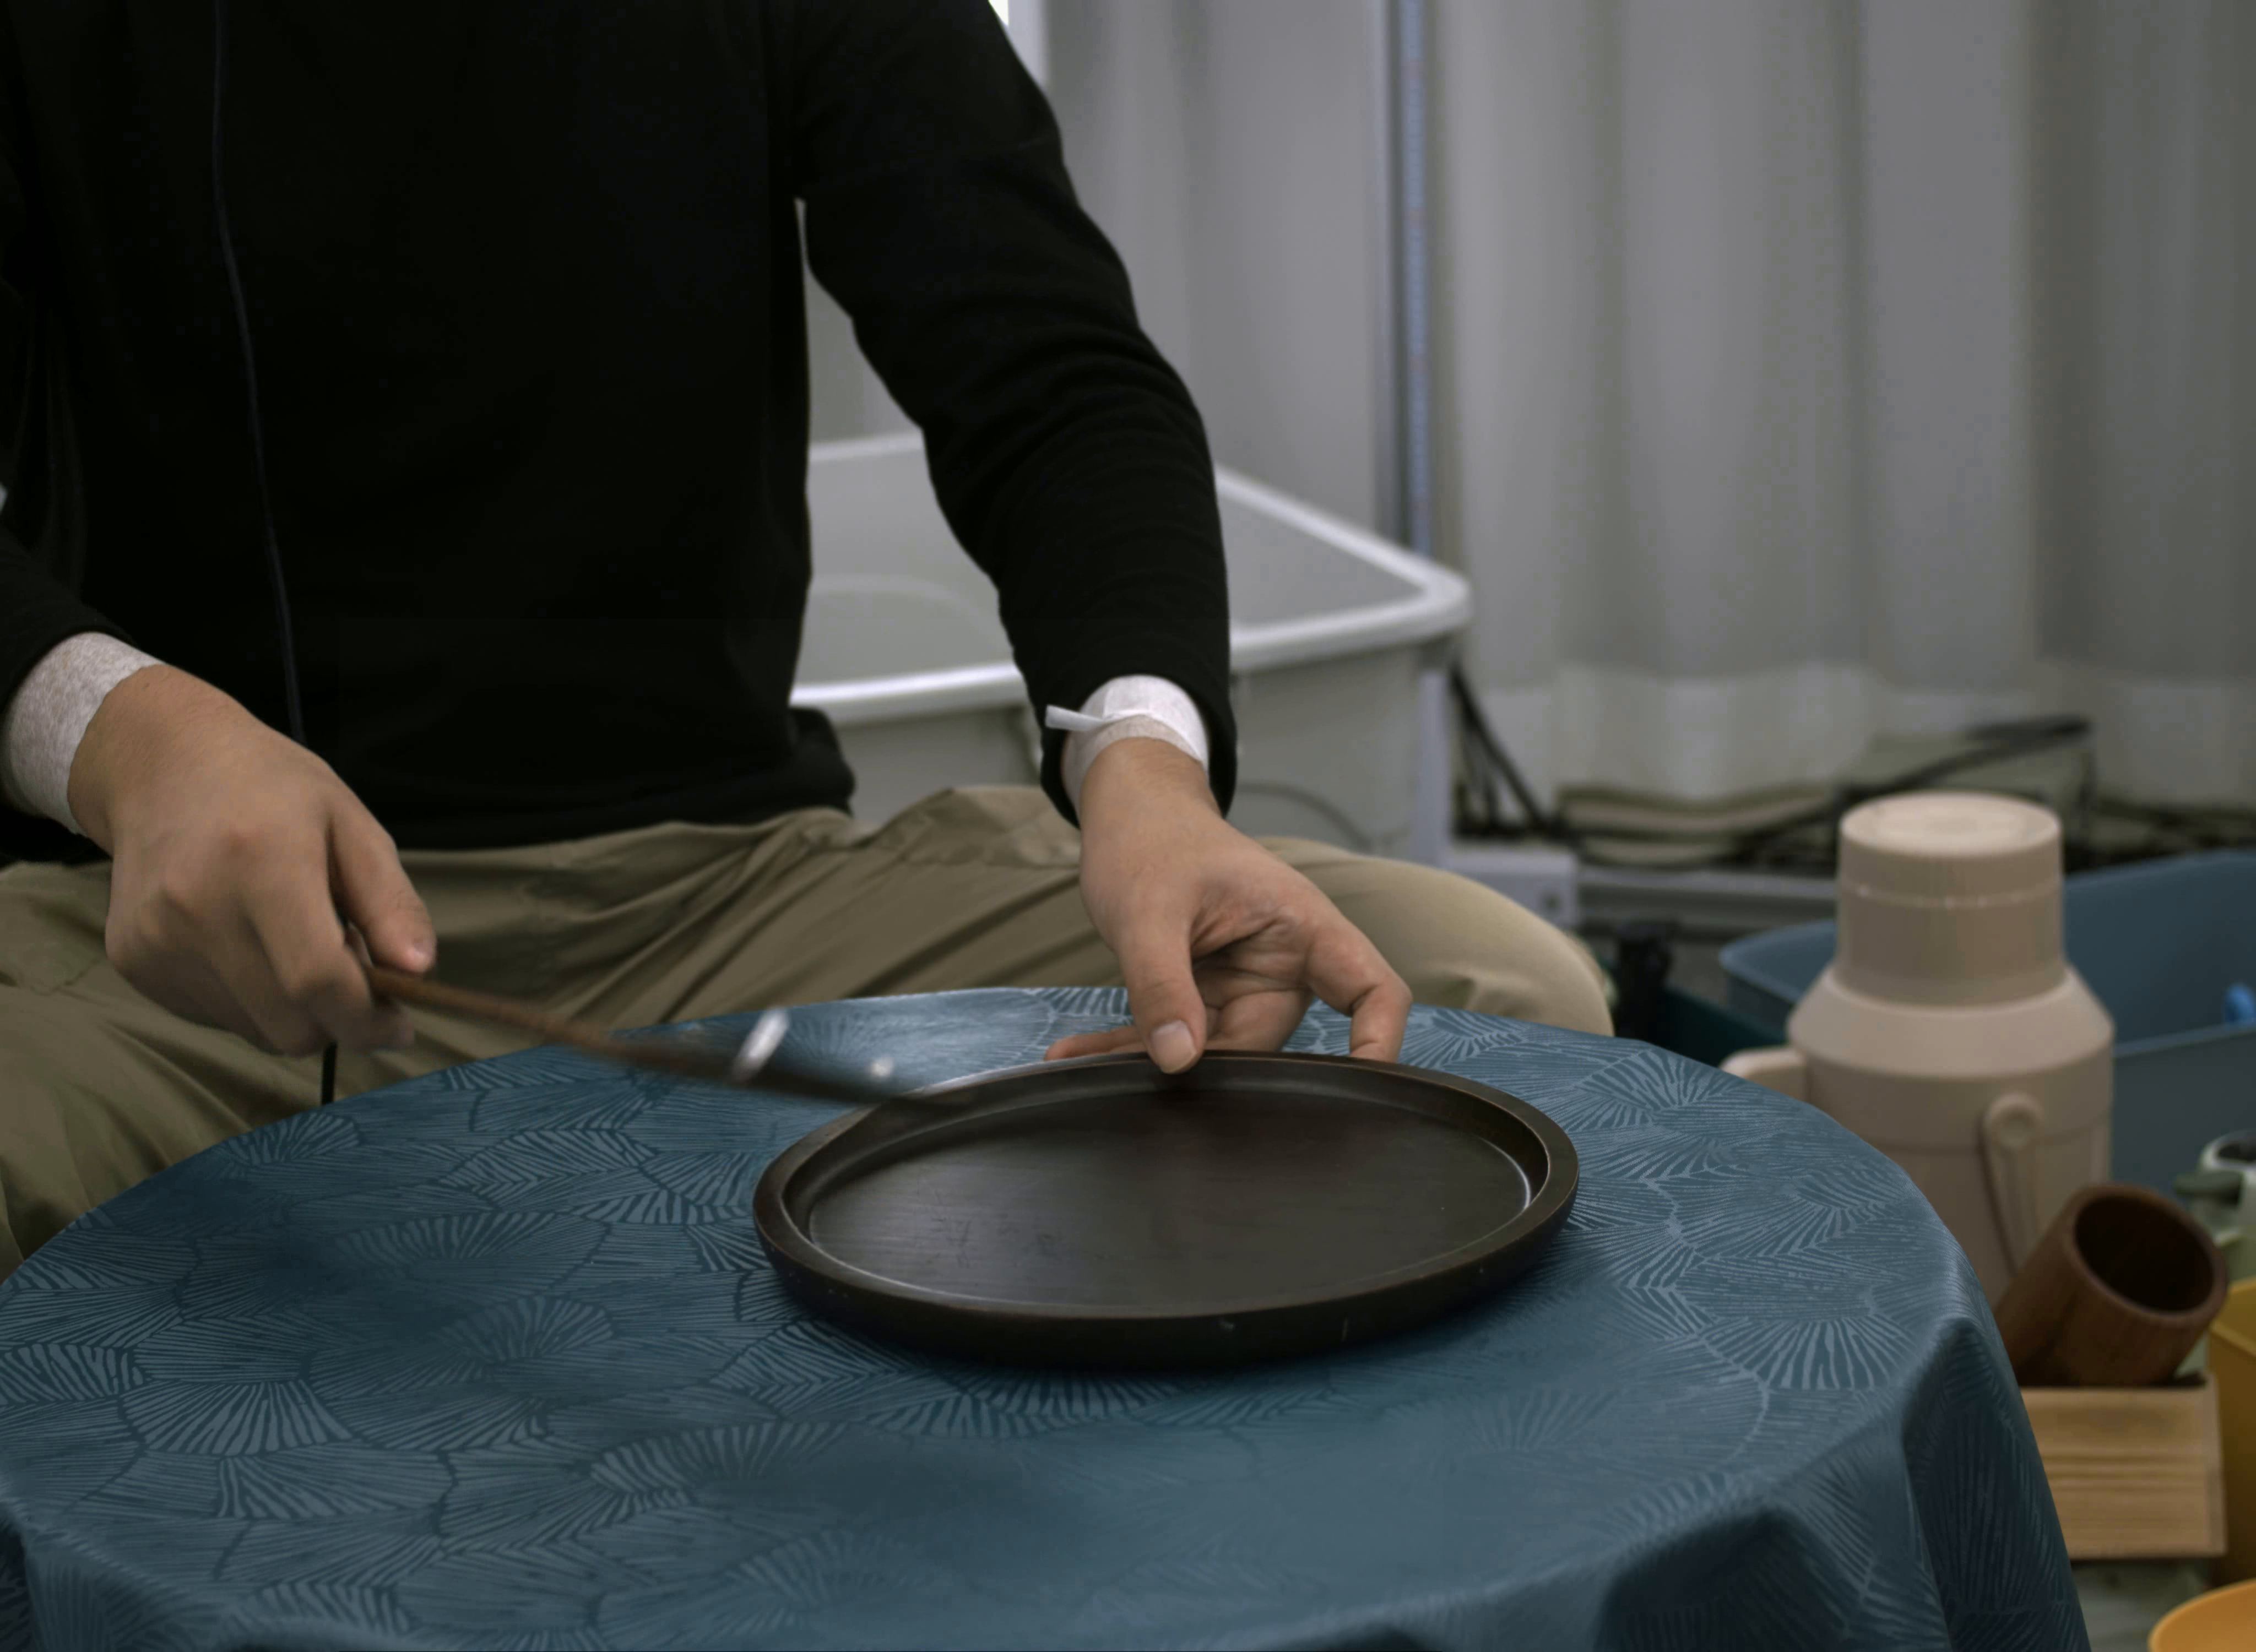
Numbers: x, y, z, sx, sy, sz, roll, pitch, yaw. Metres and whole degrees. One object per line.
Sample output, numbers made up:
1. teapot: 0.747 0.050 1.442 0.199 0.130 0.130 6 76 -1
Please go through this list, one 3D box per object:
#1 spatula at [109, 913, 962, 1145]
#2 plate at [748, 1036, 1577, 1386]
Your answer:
1. spatula: -0.194 0.057 1.596 0.095 0.016 0.388 11 1 -41
2. plate: 0.011 0.116 1.665 0.254 0.029 0.256 -3 16 1
